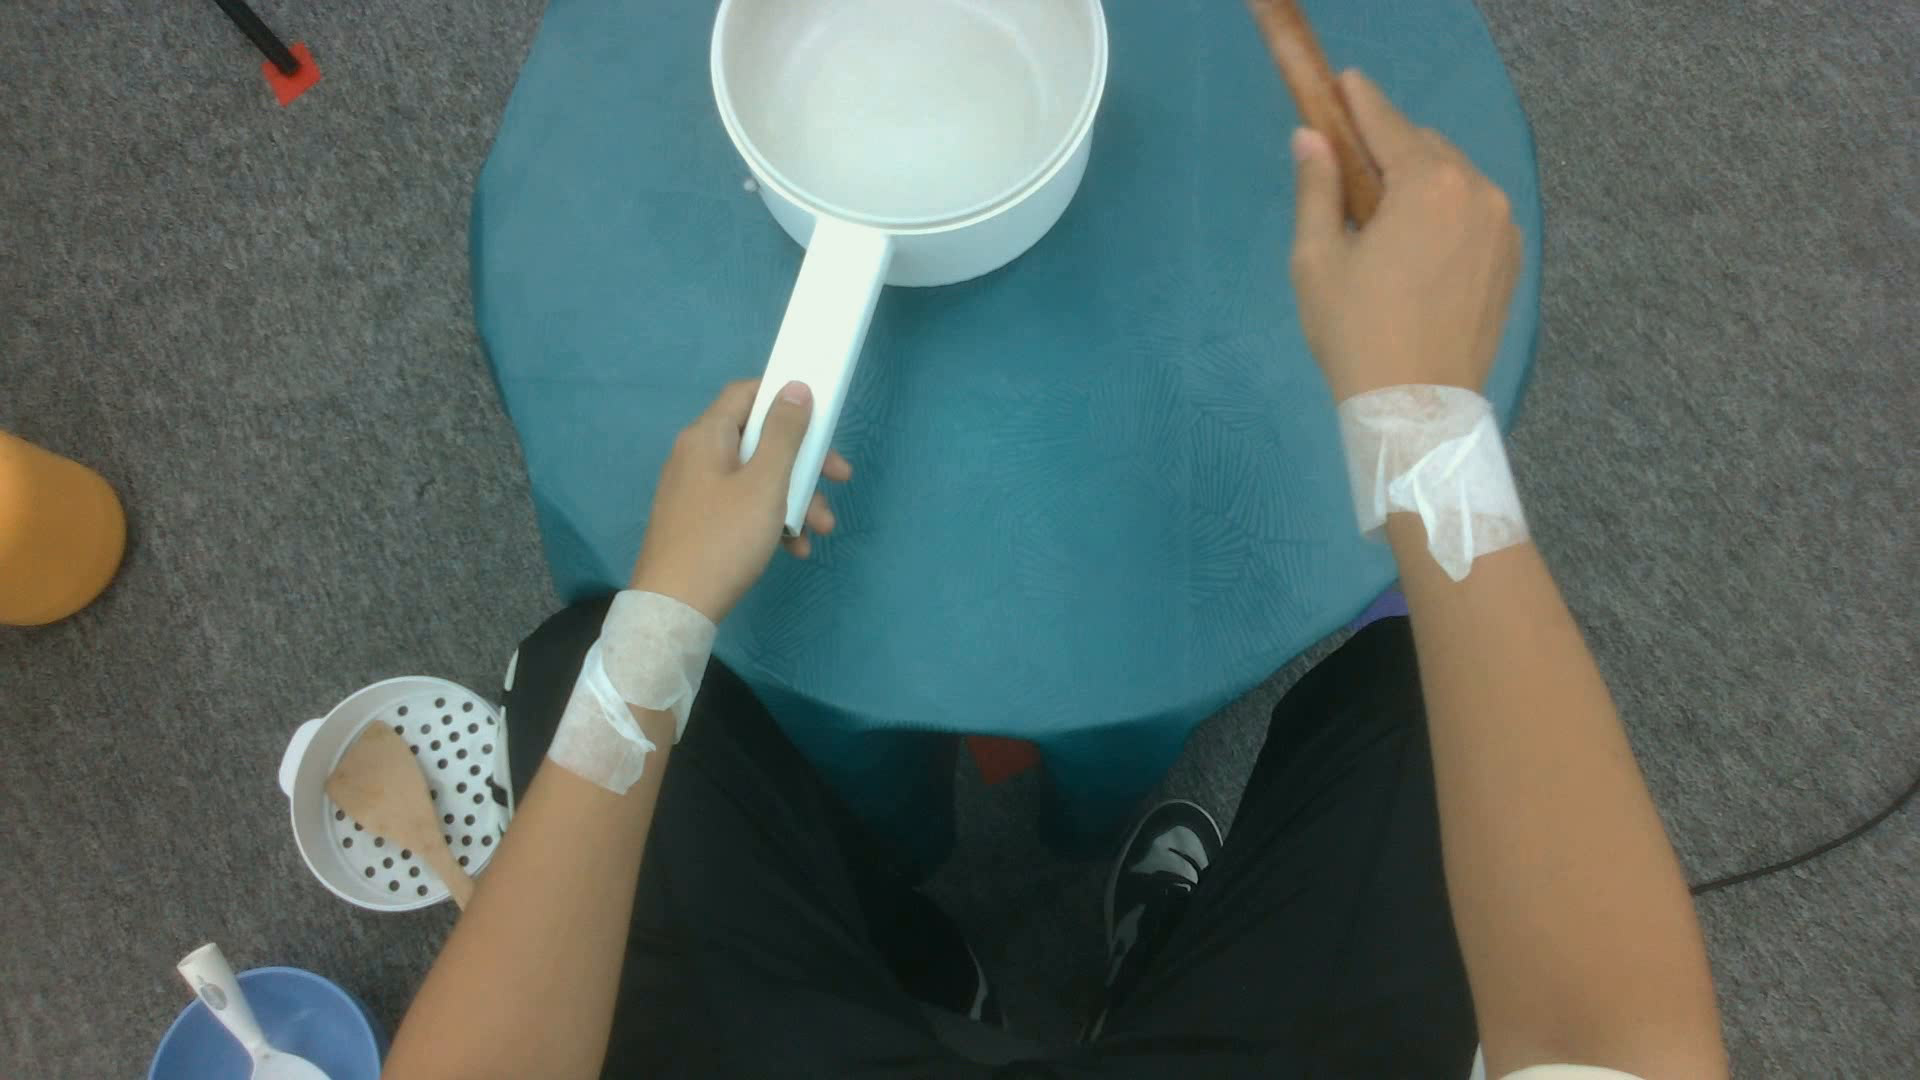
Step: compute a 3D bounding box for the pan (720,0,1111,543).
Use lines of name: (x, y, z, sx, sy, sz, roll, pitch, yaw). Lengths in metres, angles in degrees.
pan: (-0.042, -0.162, 0.743, 0.201, 0.102, 0.355, 16, 78, 6)

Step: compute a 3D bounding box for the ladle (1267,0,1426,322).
ladle: (0.137, -0.224, 0.598, 0.077, 0.081, 0.275, 6, 63, -38)
